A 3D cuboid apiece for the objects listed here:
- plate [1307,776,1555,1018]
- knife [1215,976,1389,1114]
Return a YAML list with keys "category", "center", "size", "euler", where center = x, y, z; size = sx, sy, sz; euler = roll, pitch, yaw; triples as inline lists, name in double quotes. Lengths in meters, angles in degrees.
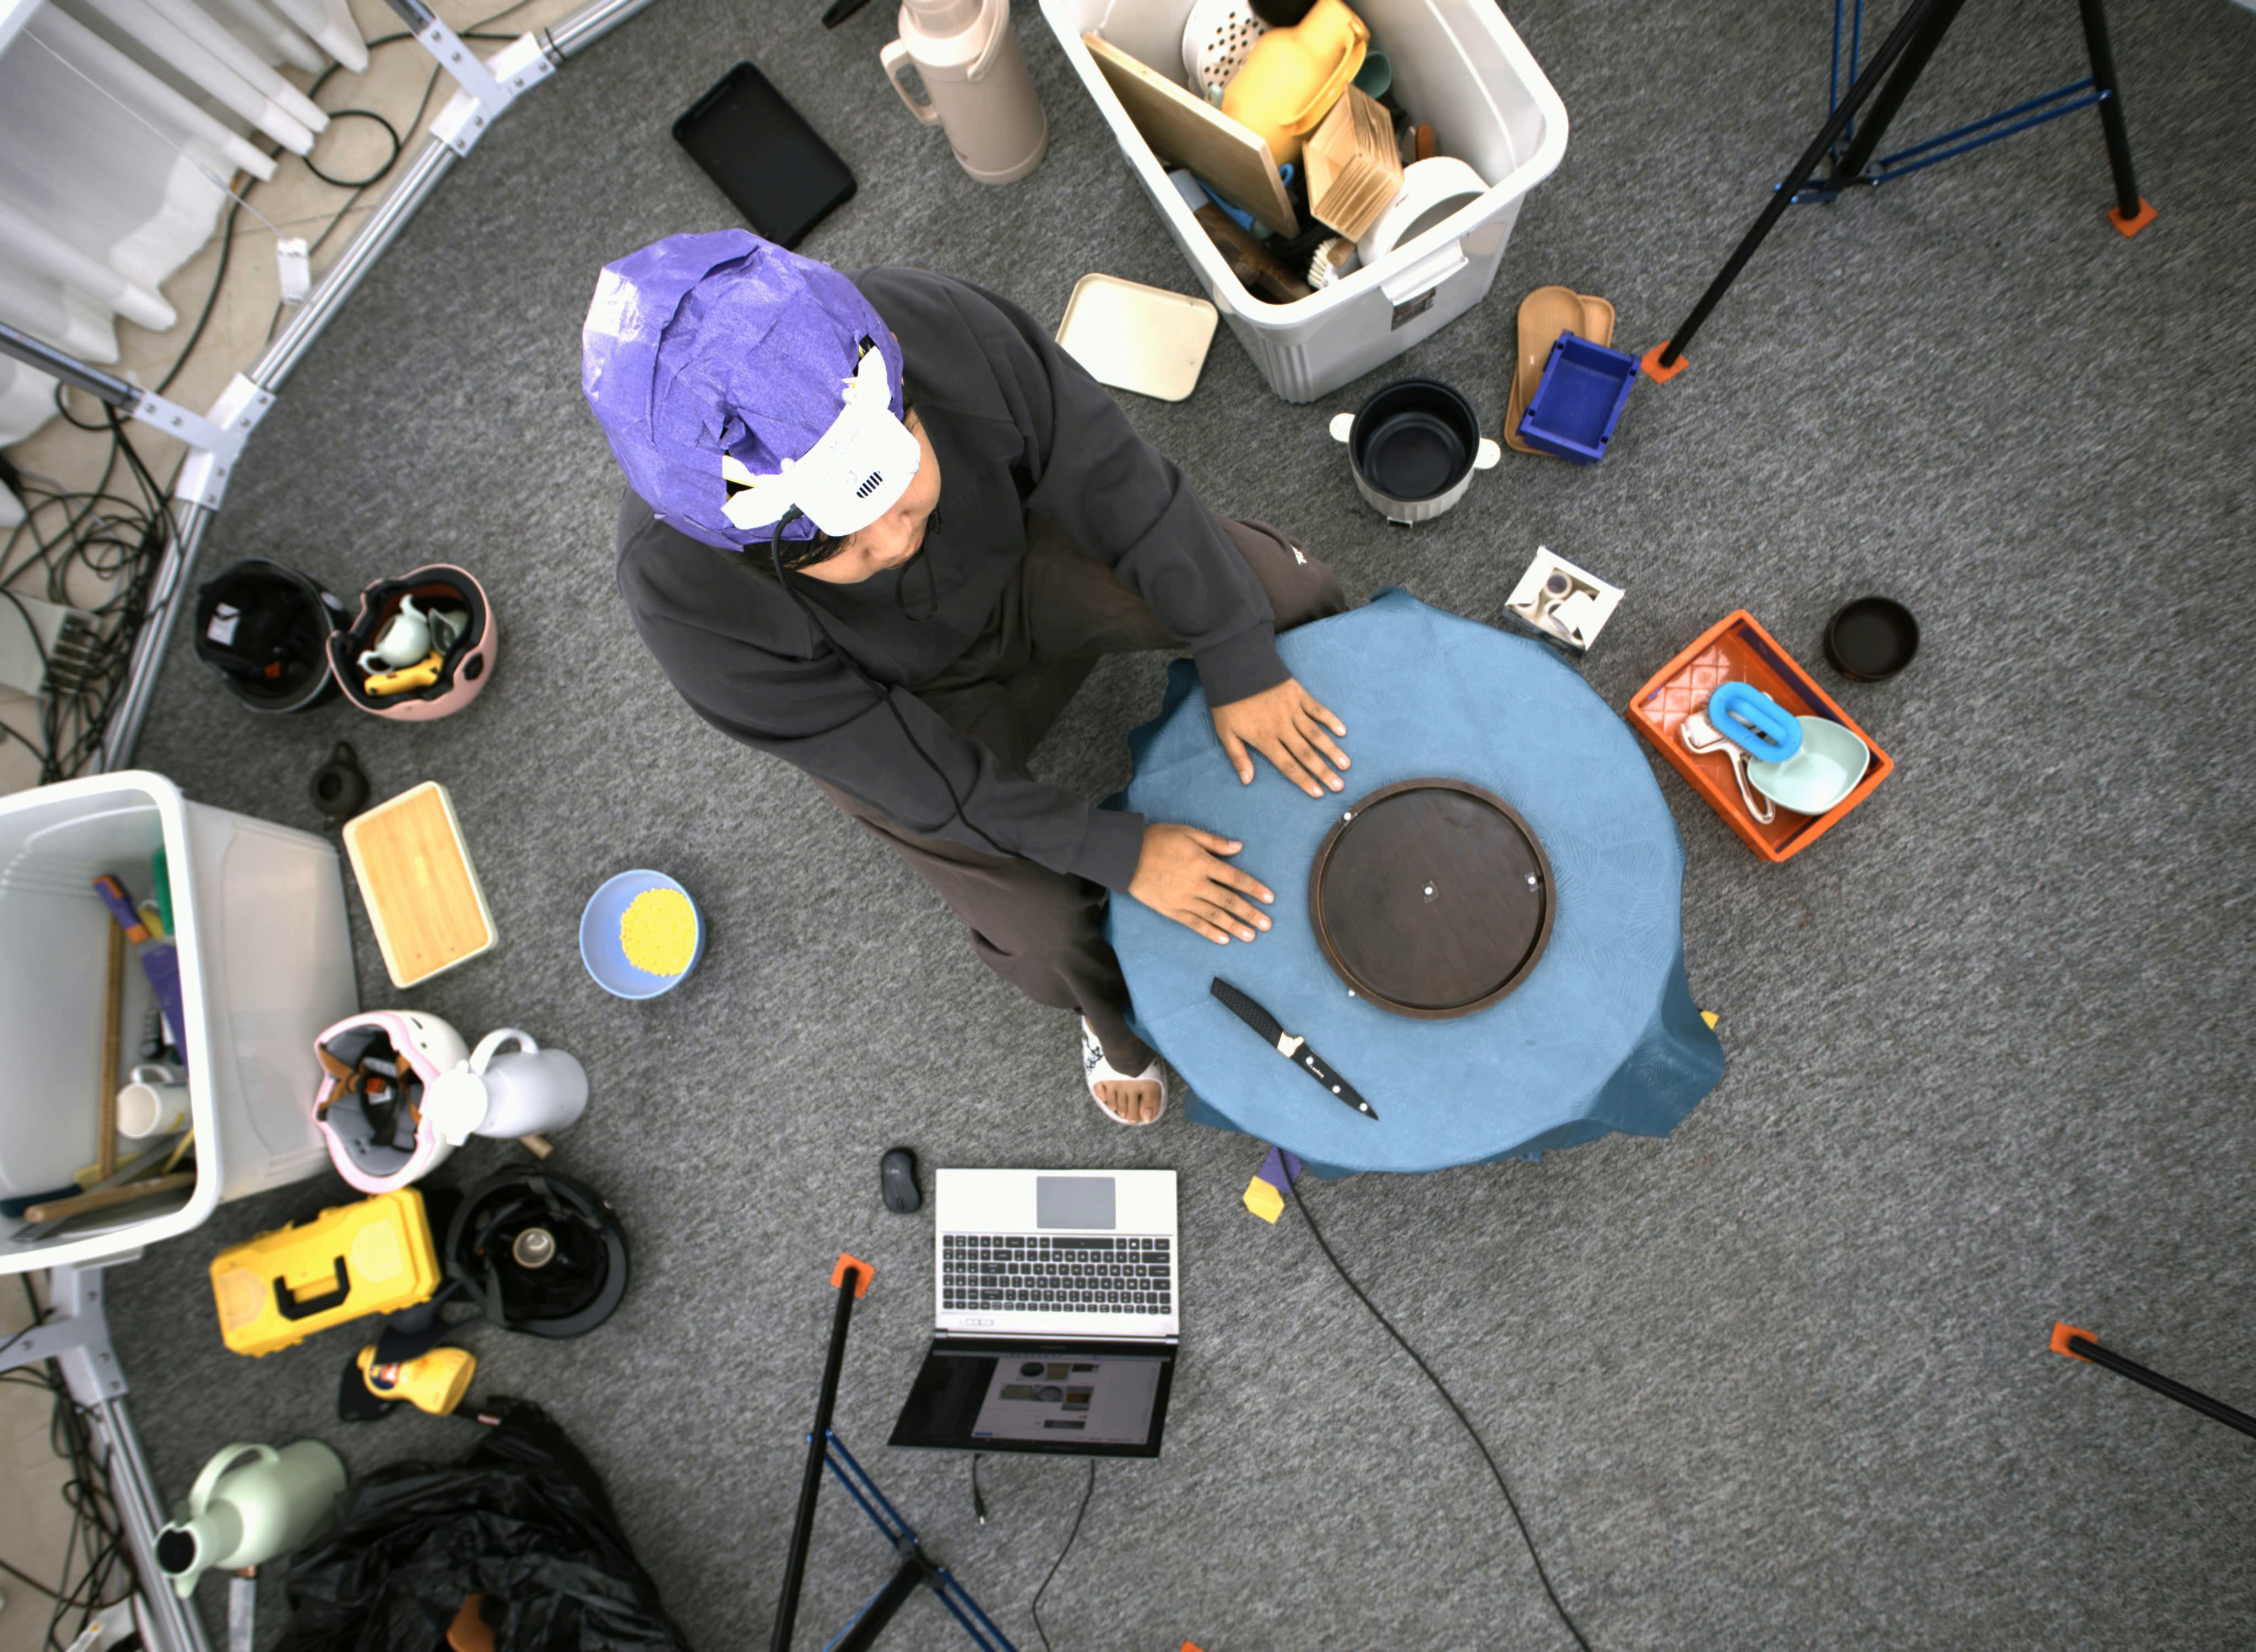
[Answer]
- category: "plate"
  center: [0.315, 0.072, 1.440]
  size: [0.256, 0.029, 0.253]
  euler: [-1, 86, 12]
- category: "knife"
  center: [0.183, 0.232, 1.463]
  size: [0.225, 0.017, 0.026]
  euler: [39, 87, 10]
